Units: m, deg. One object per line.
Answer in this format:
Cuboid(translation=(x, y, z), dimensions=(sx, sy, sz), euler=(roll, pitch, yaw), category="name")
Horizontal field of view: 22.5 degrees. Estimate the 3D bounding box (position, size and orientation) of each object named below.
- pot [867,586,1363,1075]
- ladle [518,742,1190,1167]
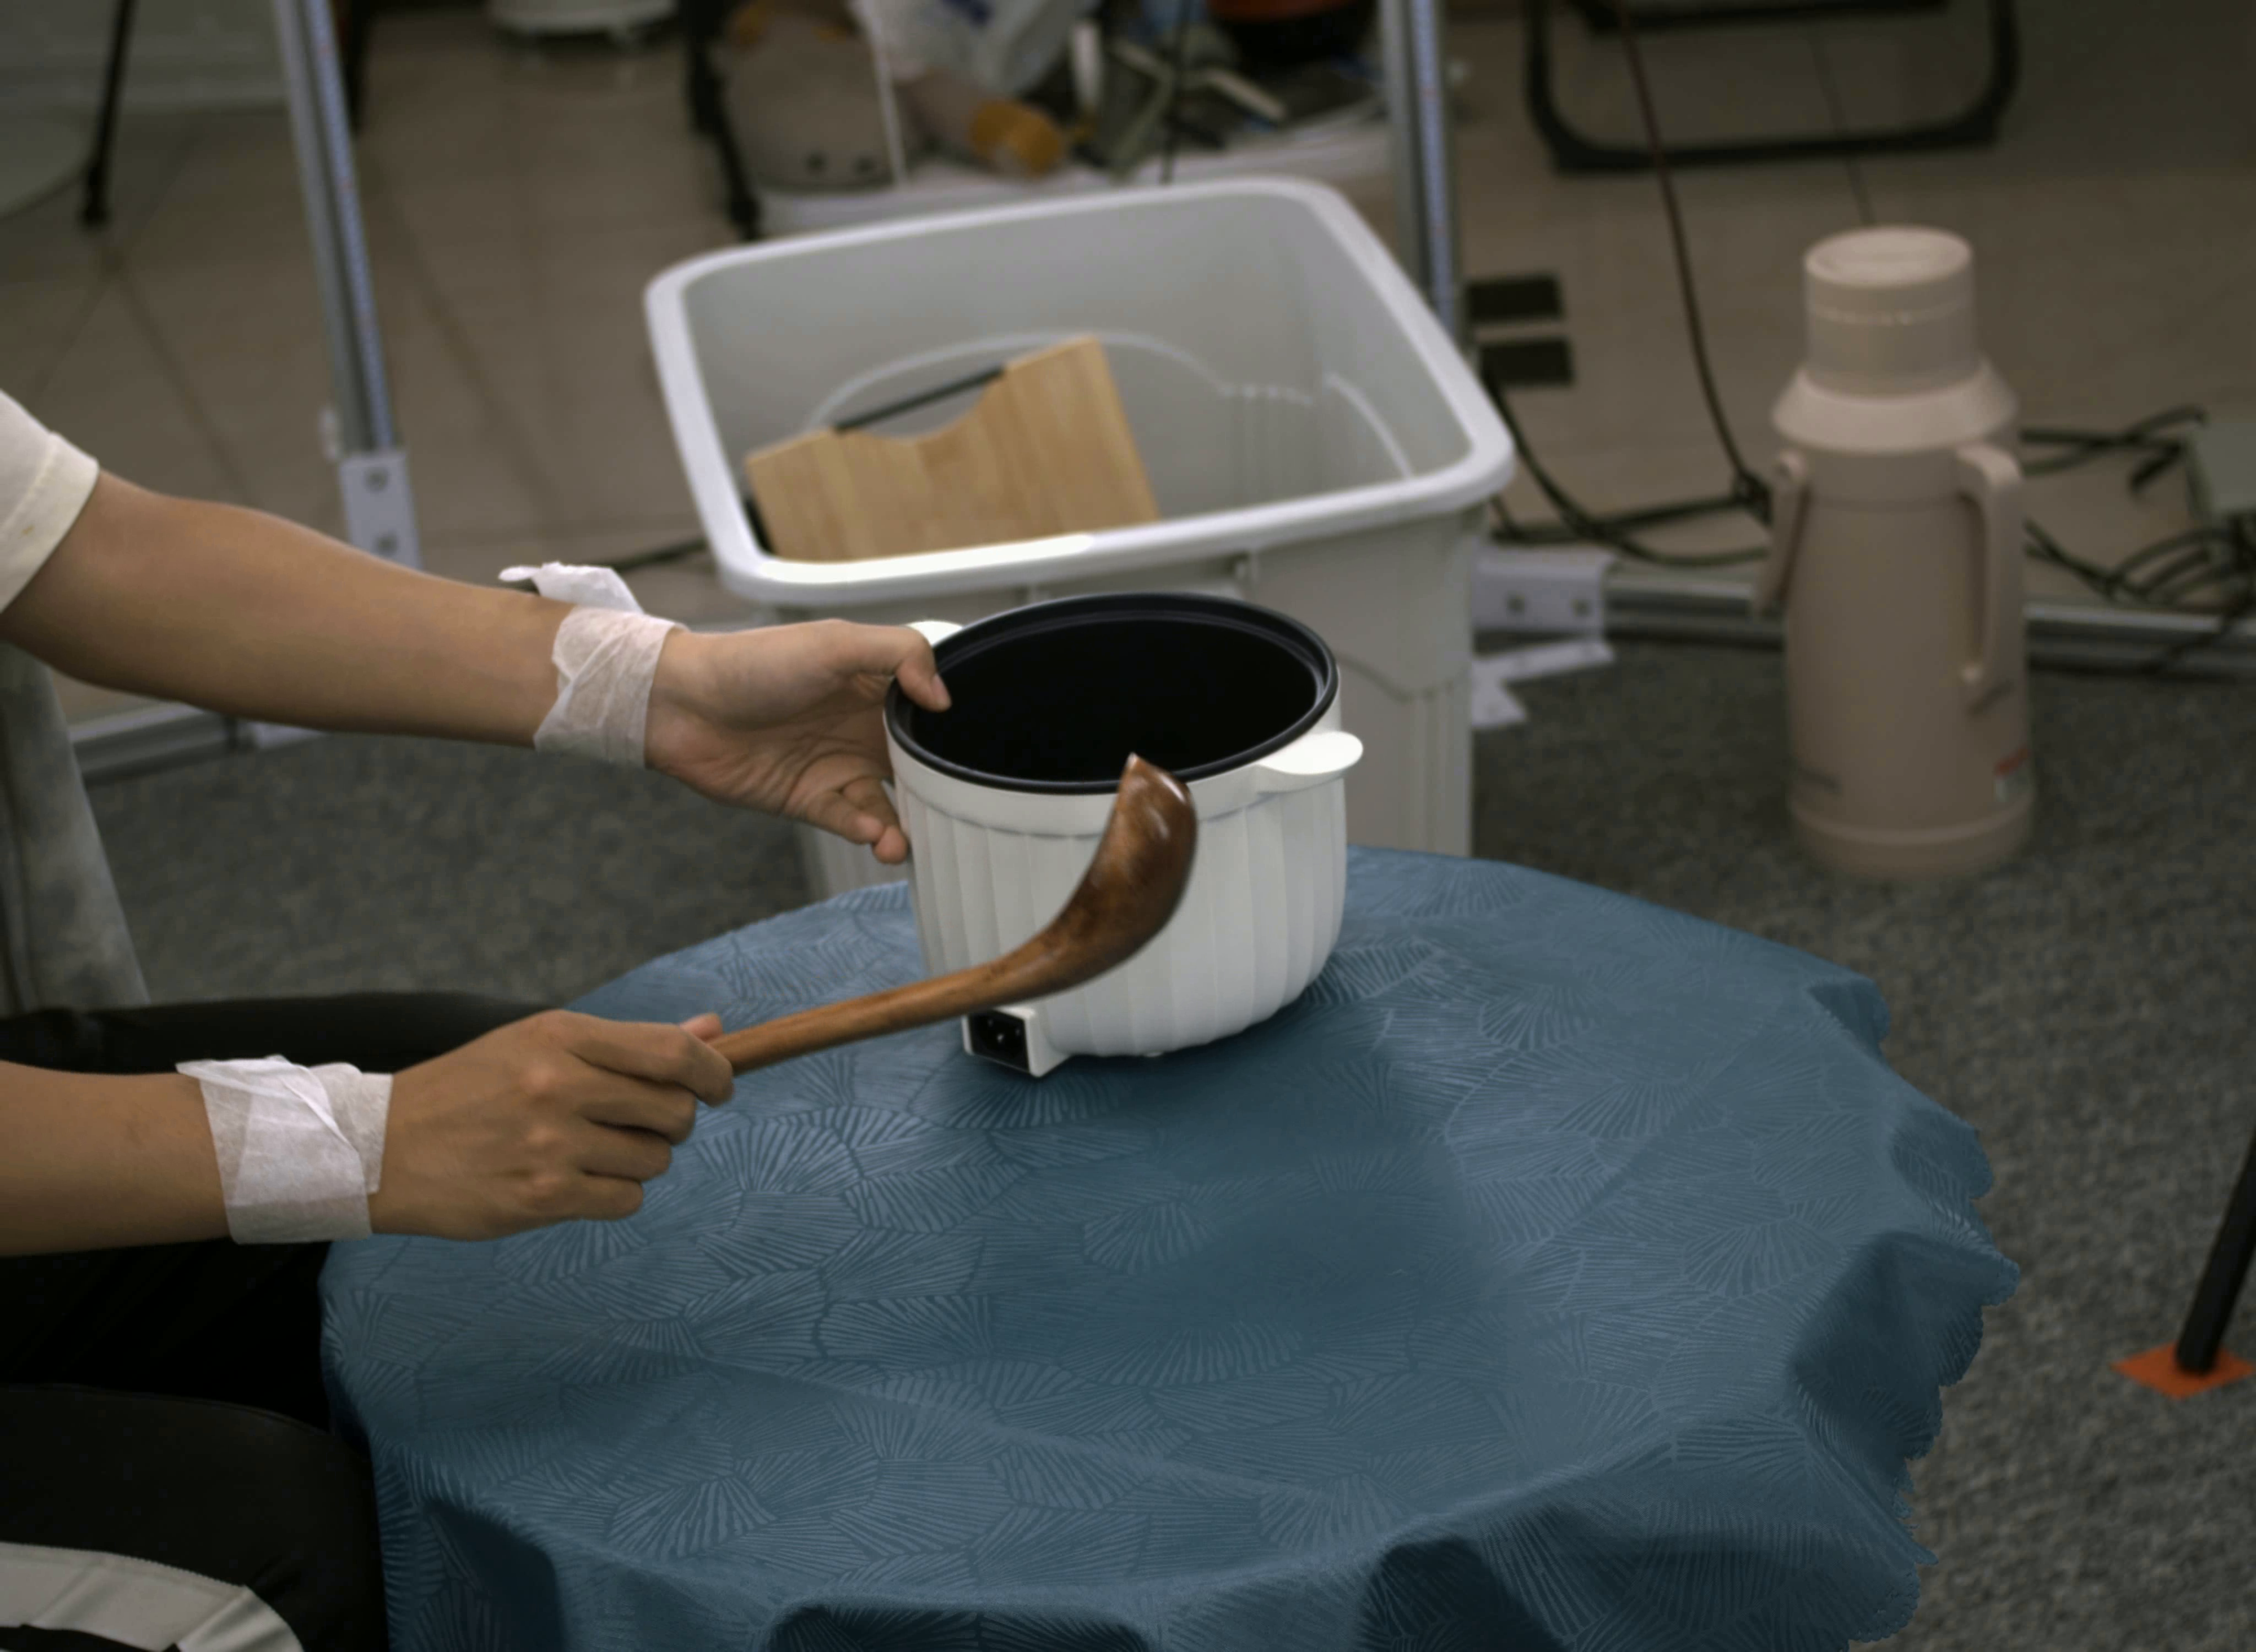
Cuboid(translation=(0.000, 0.000, 2.275), dimensions=(0.238, 0.145, 0.188), euler=(18, 38, 35), category="pot")
Cuboid(translation=(-0.102, 0.044, 2.077), dimensions=(0.273, 0.083, 0.075), euler=(-19, 65, -4), category="ladle")
